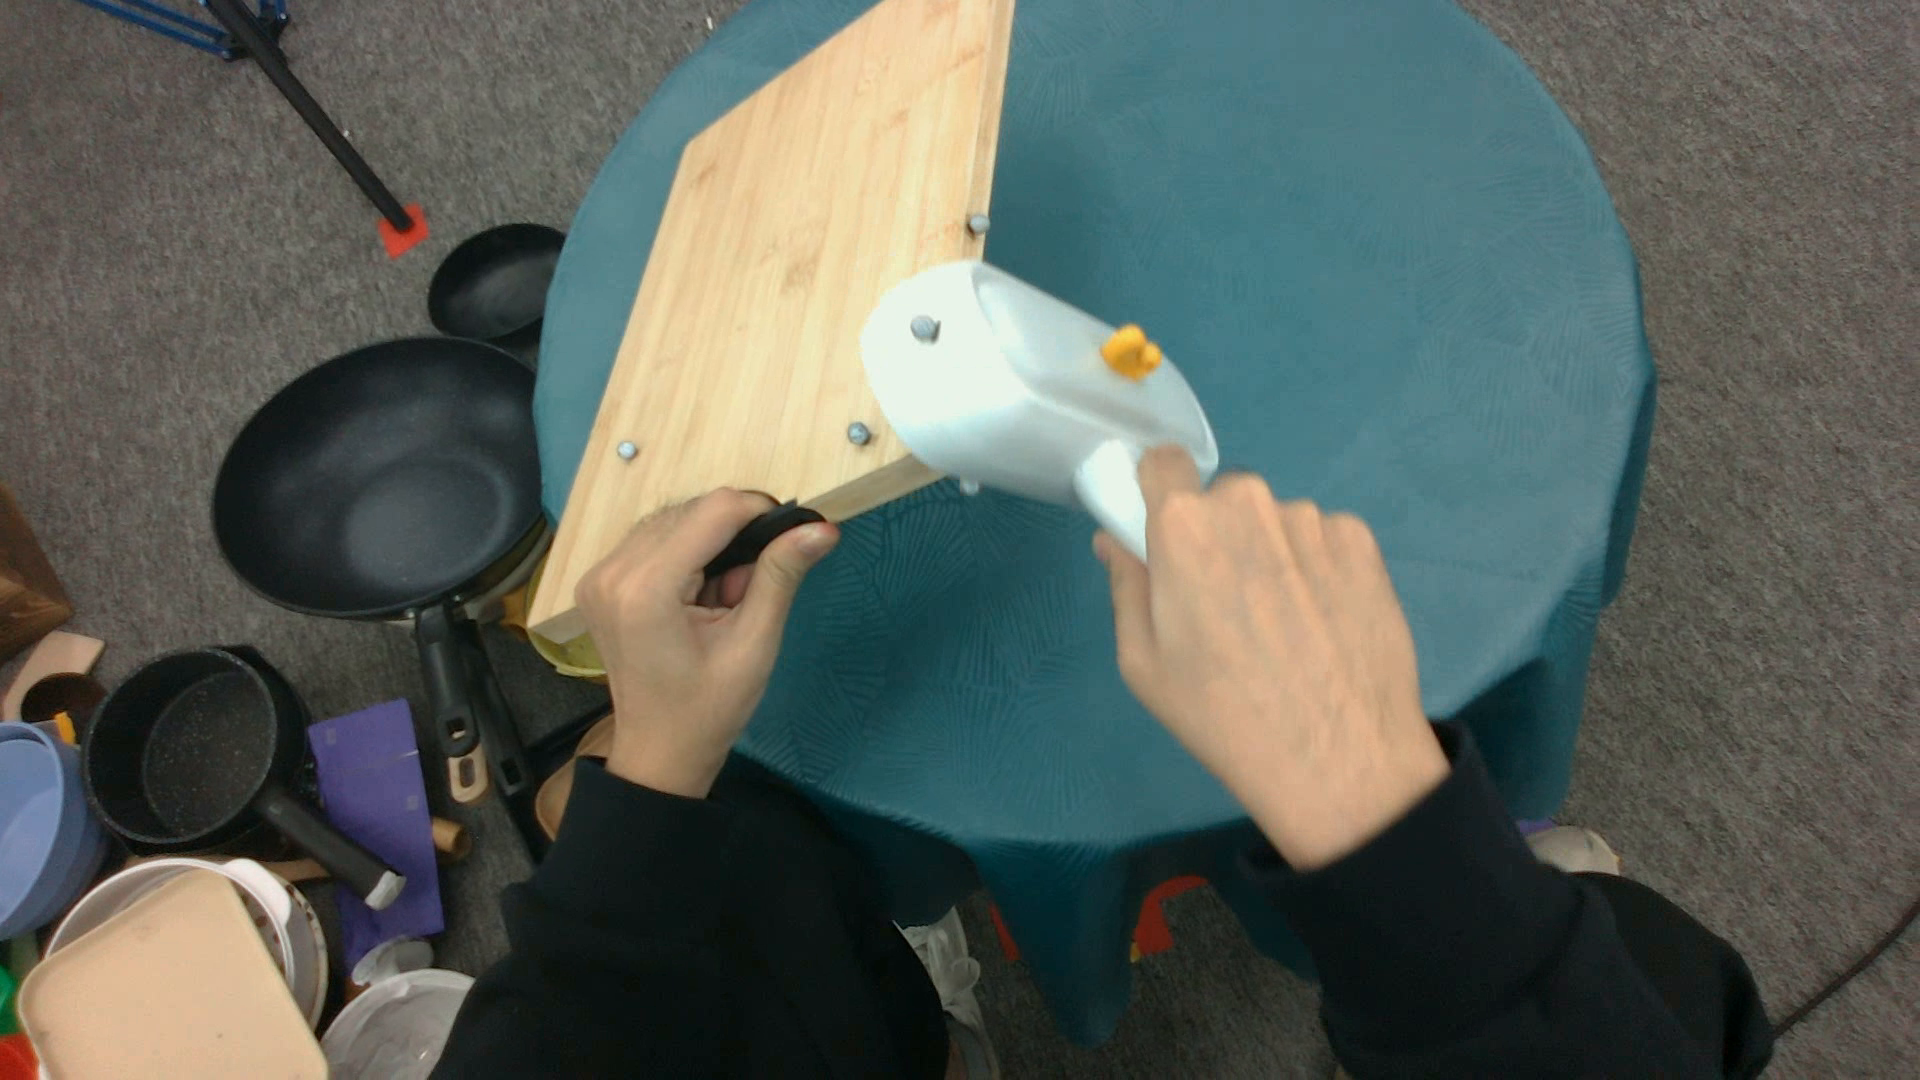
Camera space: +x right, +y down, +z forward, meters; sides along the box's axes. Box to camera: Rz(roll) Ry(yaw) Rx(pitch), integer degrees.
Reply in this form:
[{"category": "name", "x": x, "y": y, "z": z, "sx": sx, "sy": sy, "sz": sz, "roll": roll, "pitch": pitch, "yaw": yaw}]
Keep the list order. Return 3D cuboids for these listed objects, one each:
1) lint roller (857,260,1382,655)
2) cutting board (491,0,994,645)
[{"category": "lint roller", "x": 0.072, "y": -0.025, "z": 0.512, "sx": 0.074, "sy": 0.193, "sz": 0.192, "roll": -43, "pitch": 77, "yaw": 24}, {"category": "cutting board", "x": -0.093, "y": -0.132, "z": 0.651, "sx": 0.250, "sy": 0.023, "sz": 0.350, "roll": -22, "pitch": 46, "yaw": 33}]
